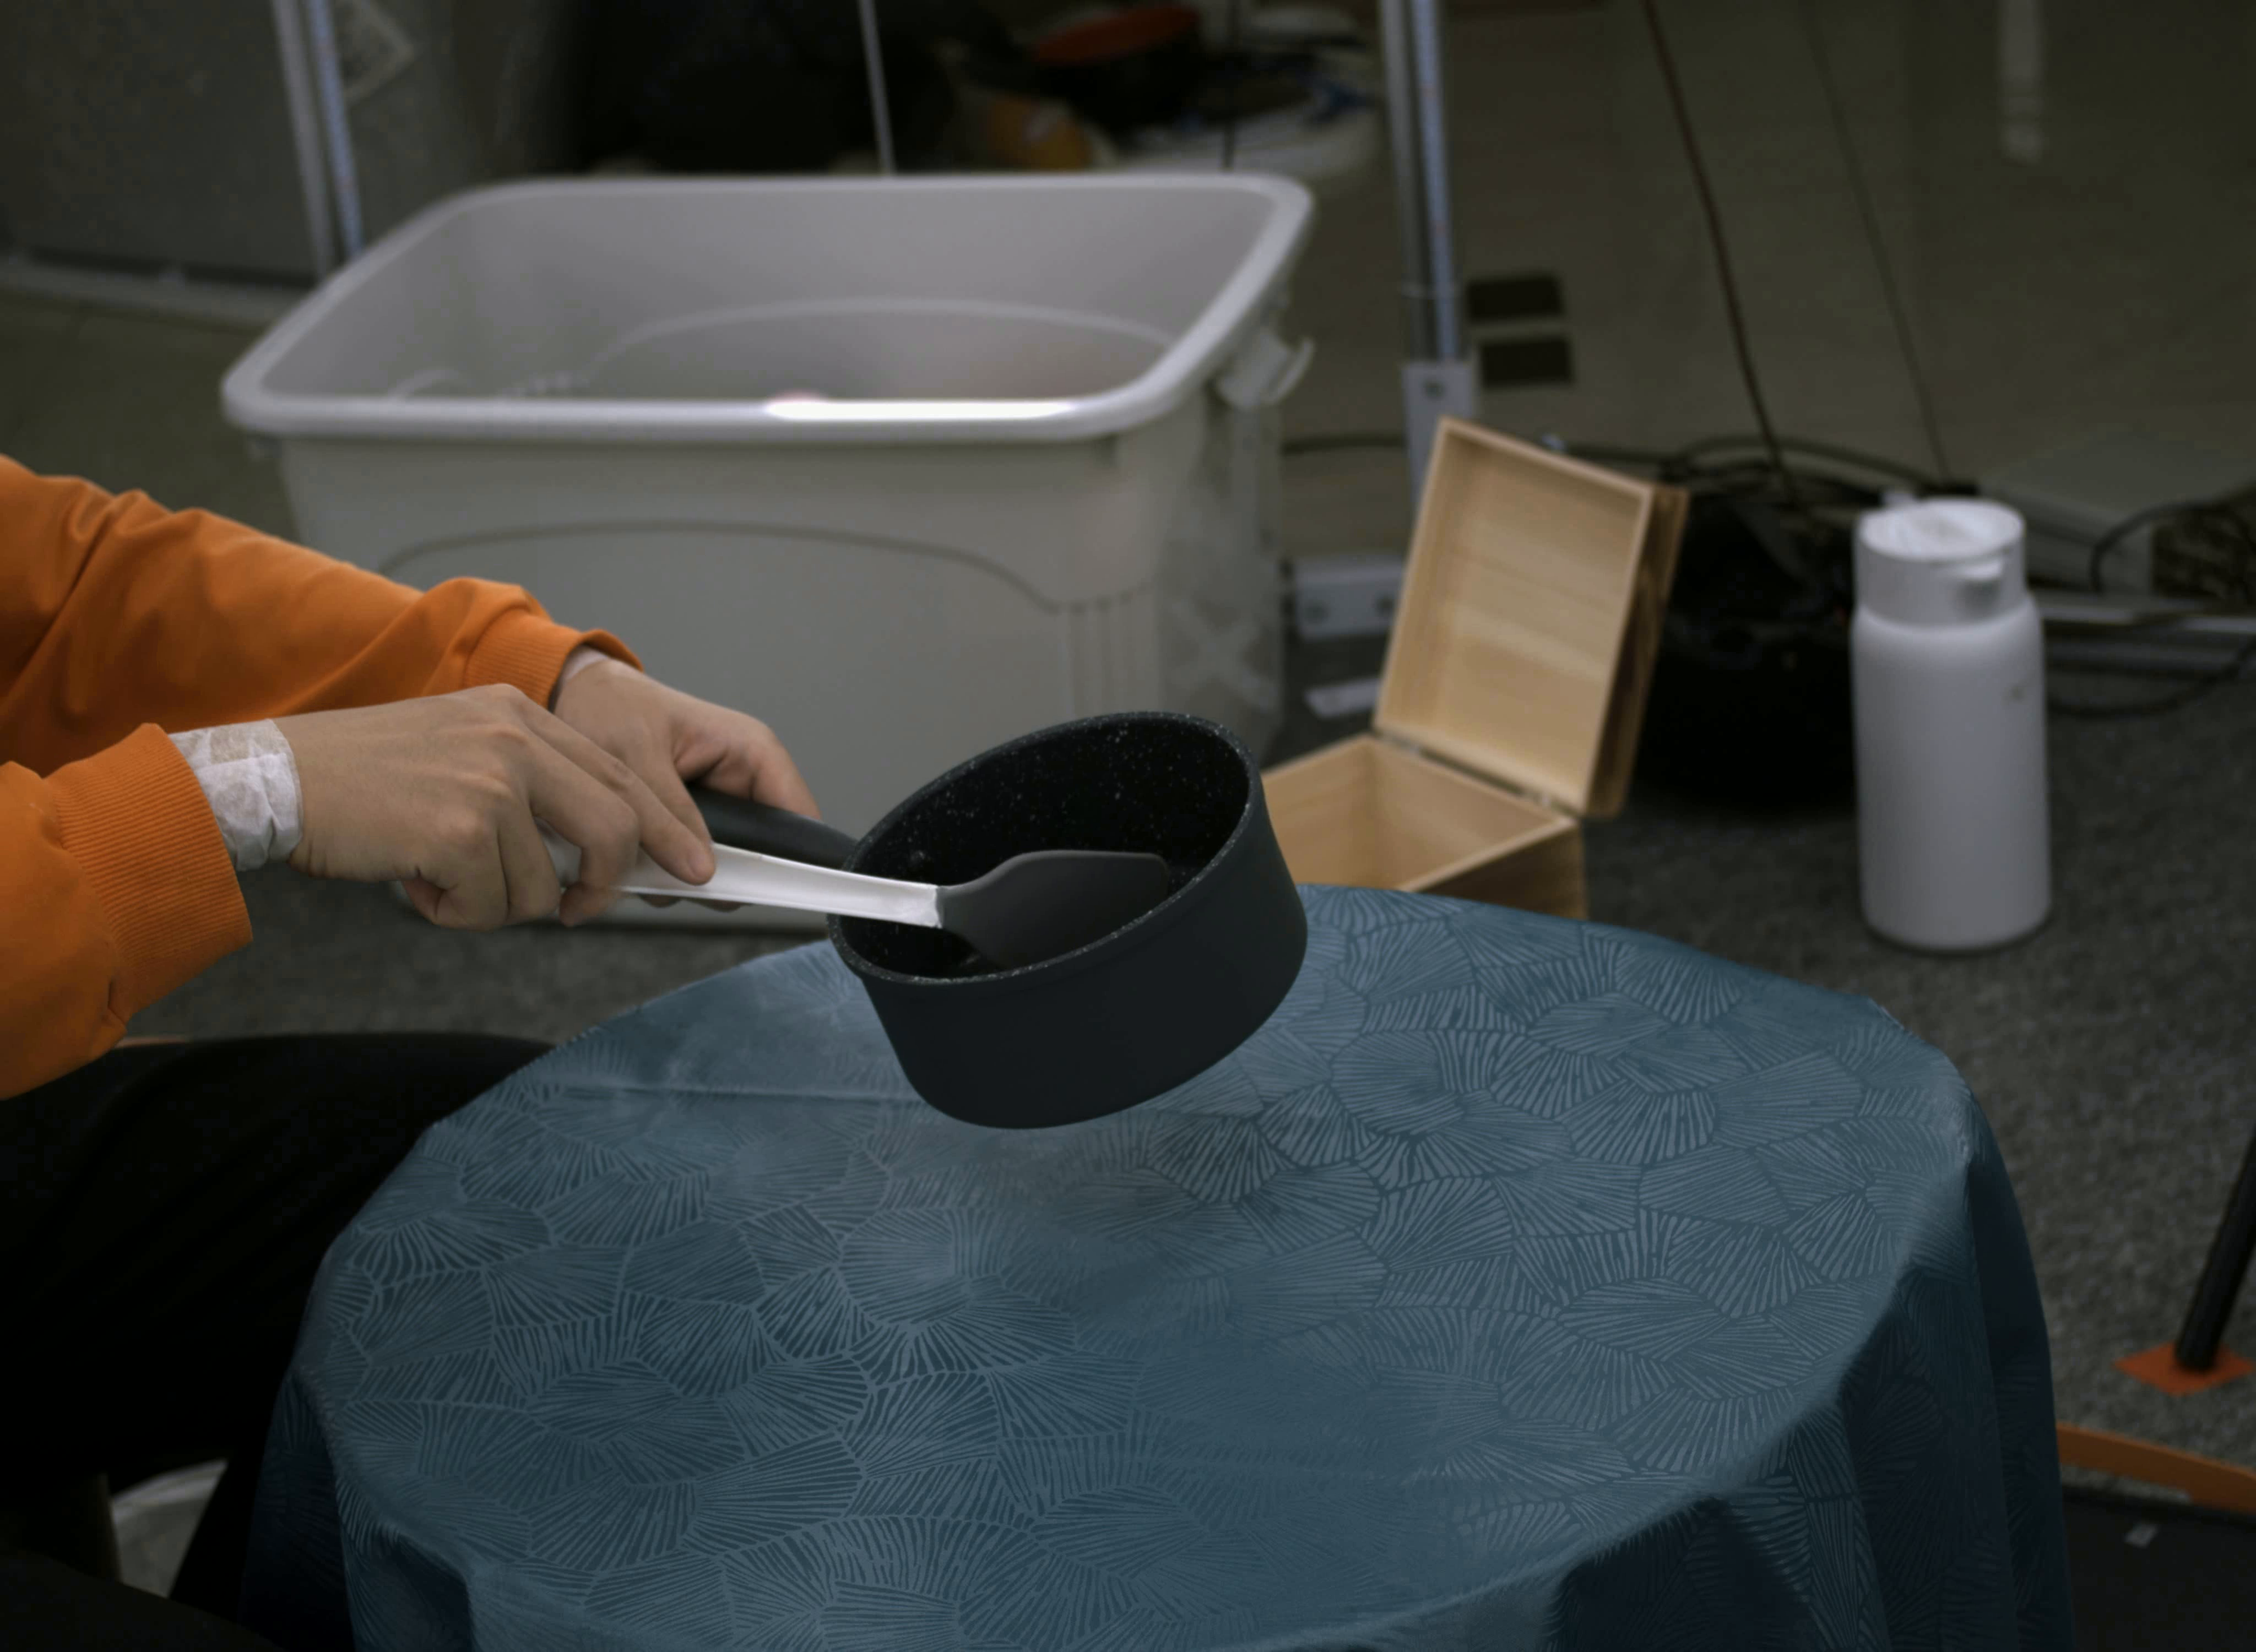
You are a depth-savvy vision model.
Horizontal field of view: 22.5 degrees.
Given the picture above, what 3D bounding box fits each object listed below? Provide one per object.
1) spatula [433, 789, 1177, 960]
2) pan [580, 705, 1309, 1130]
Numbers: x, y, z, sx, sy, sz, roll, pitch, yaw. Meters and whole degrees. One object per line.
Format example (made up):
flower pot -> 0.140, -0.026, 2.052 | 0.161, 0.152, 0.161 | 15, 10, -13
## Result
spatula -> -0.113, 0.018, 2.072 | 0.288, 0.059, 0.032 | 7, 10, -24
pan -> -0.079, 0.026, 2.169 | 0.327, 0.088, 0.170 | 9, 42, 41
